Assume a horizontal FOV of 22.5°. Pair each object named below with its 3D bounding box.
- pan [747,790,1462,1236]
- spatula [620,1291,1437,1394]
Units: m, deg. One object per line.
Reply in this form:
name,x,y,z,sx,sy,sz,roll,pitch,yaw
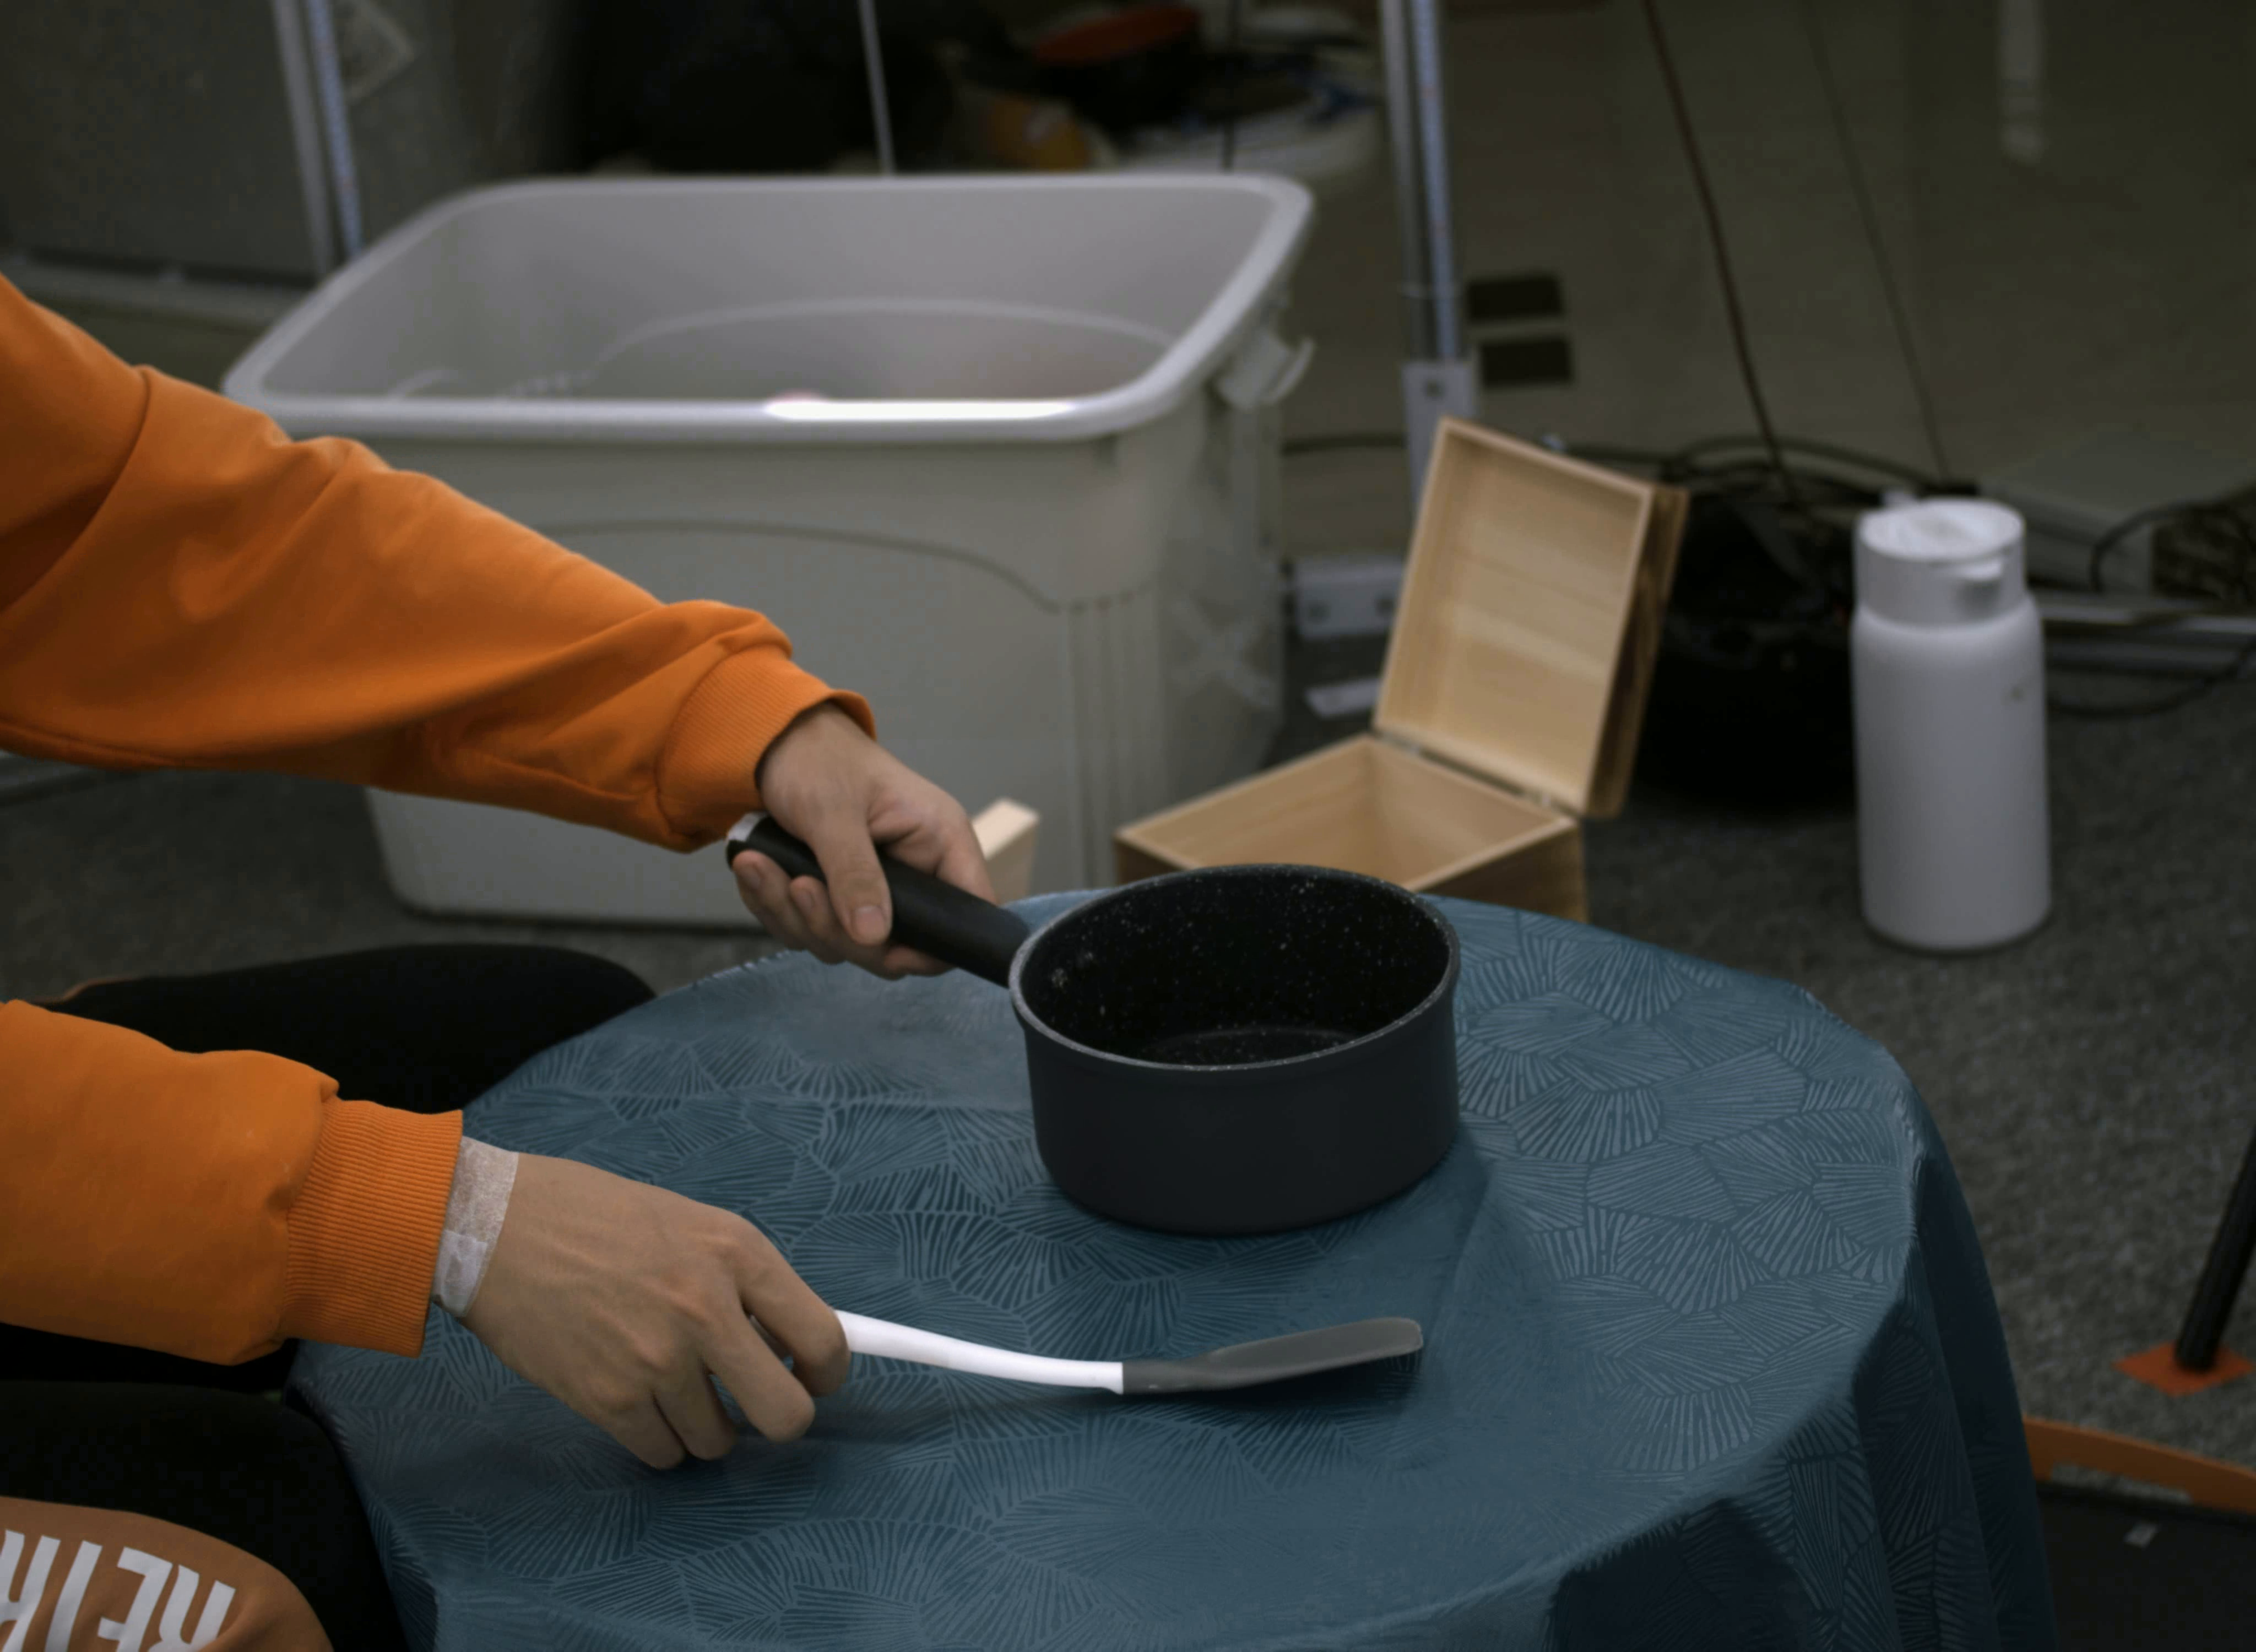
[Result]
pan,-0.018,0.065,2.202,0.326,0.088,0.170,17,33,36
spatula,-0.035,0.183,2.004,0.287,0.032,0.058,1,7,-1
